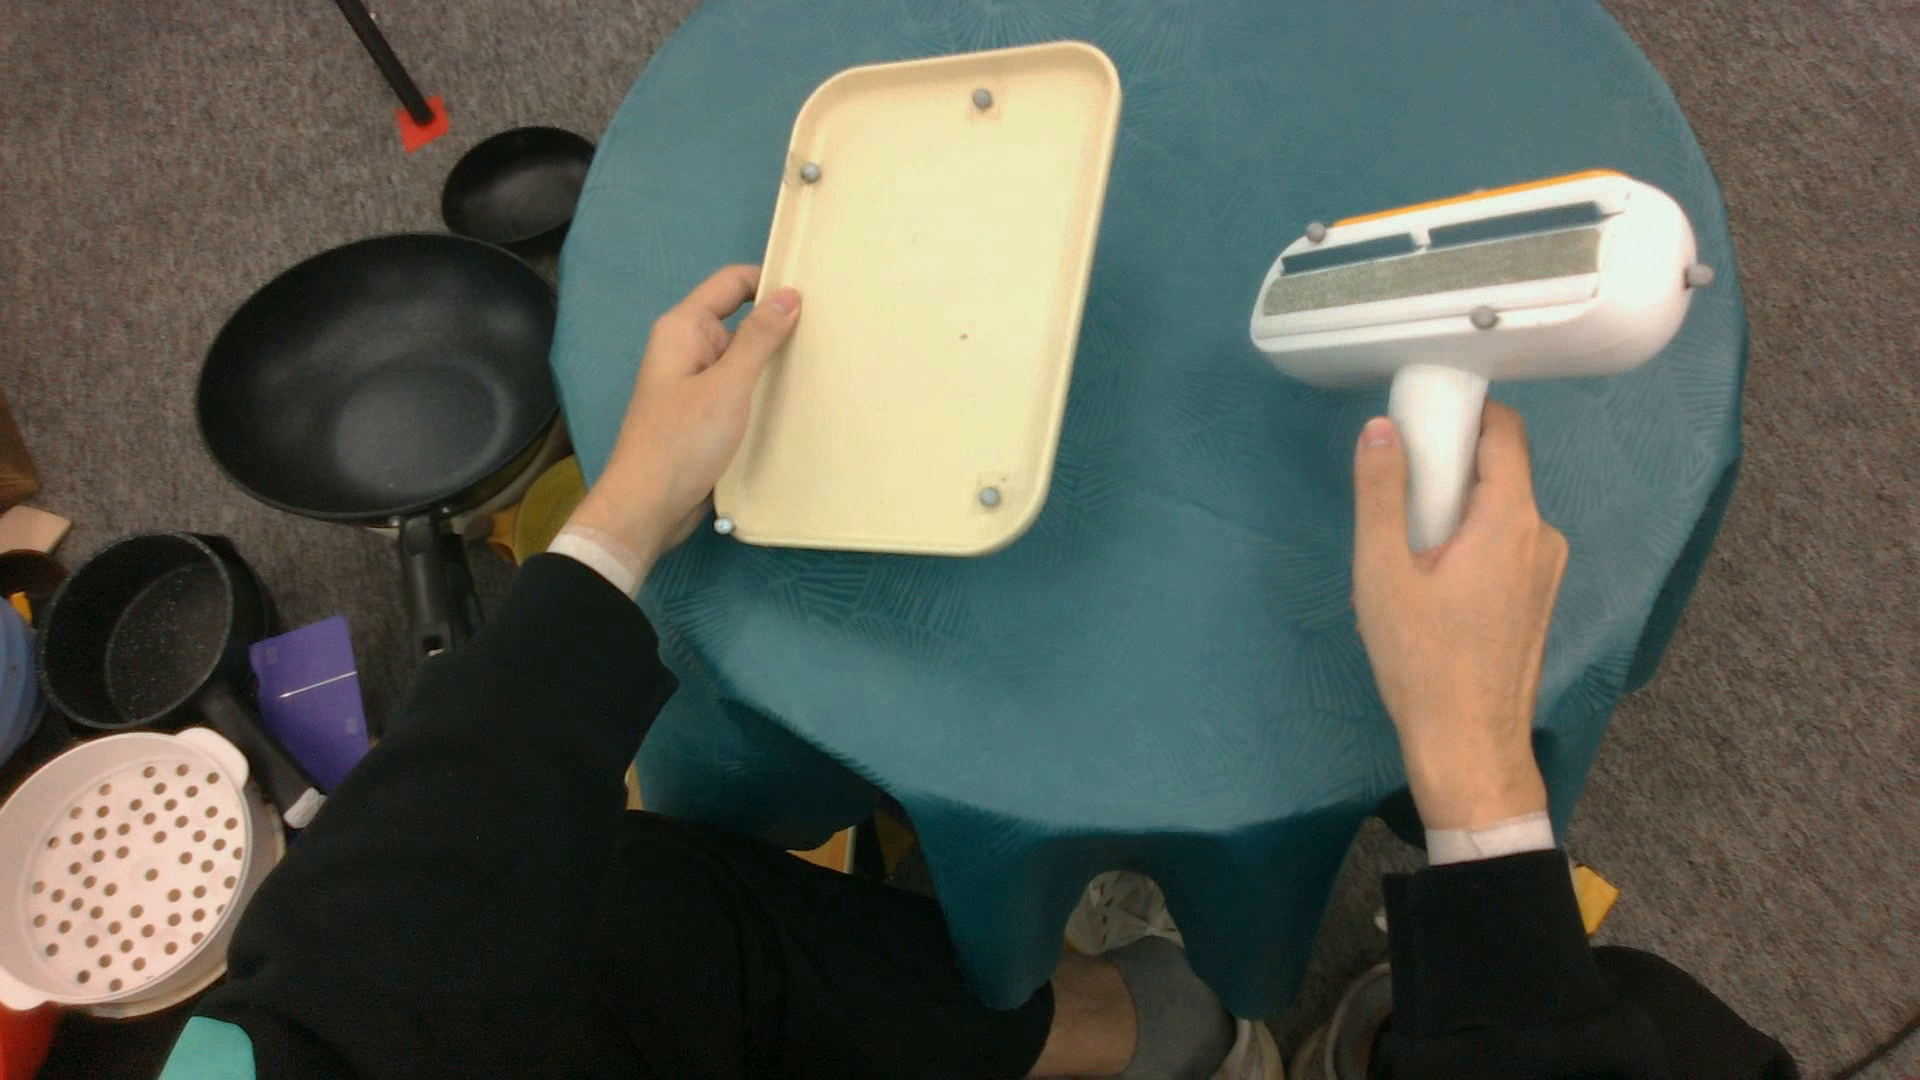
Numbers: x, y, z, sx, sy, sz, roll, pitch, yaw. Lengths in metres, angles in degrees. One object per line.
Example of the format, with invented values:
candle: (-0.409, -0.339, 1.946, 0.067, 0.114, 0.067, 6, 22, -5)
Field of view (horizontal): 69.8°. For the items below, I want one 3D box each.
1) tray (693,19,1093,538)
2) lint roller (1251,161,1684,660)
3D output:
tray: (-0.030, -0.115, 0.613, 0.171, 0.017, 0.240, 3, 74, 30)
lint roller: (0.183, -0.048, 0.554, 0.074, 0.192, 0.192, 16, 89, -31)
